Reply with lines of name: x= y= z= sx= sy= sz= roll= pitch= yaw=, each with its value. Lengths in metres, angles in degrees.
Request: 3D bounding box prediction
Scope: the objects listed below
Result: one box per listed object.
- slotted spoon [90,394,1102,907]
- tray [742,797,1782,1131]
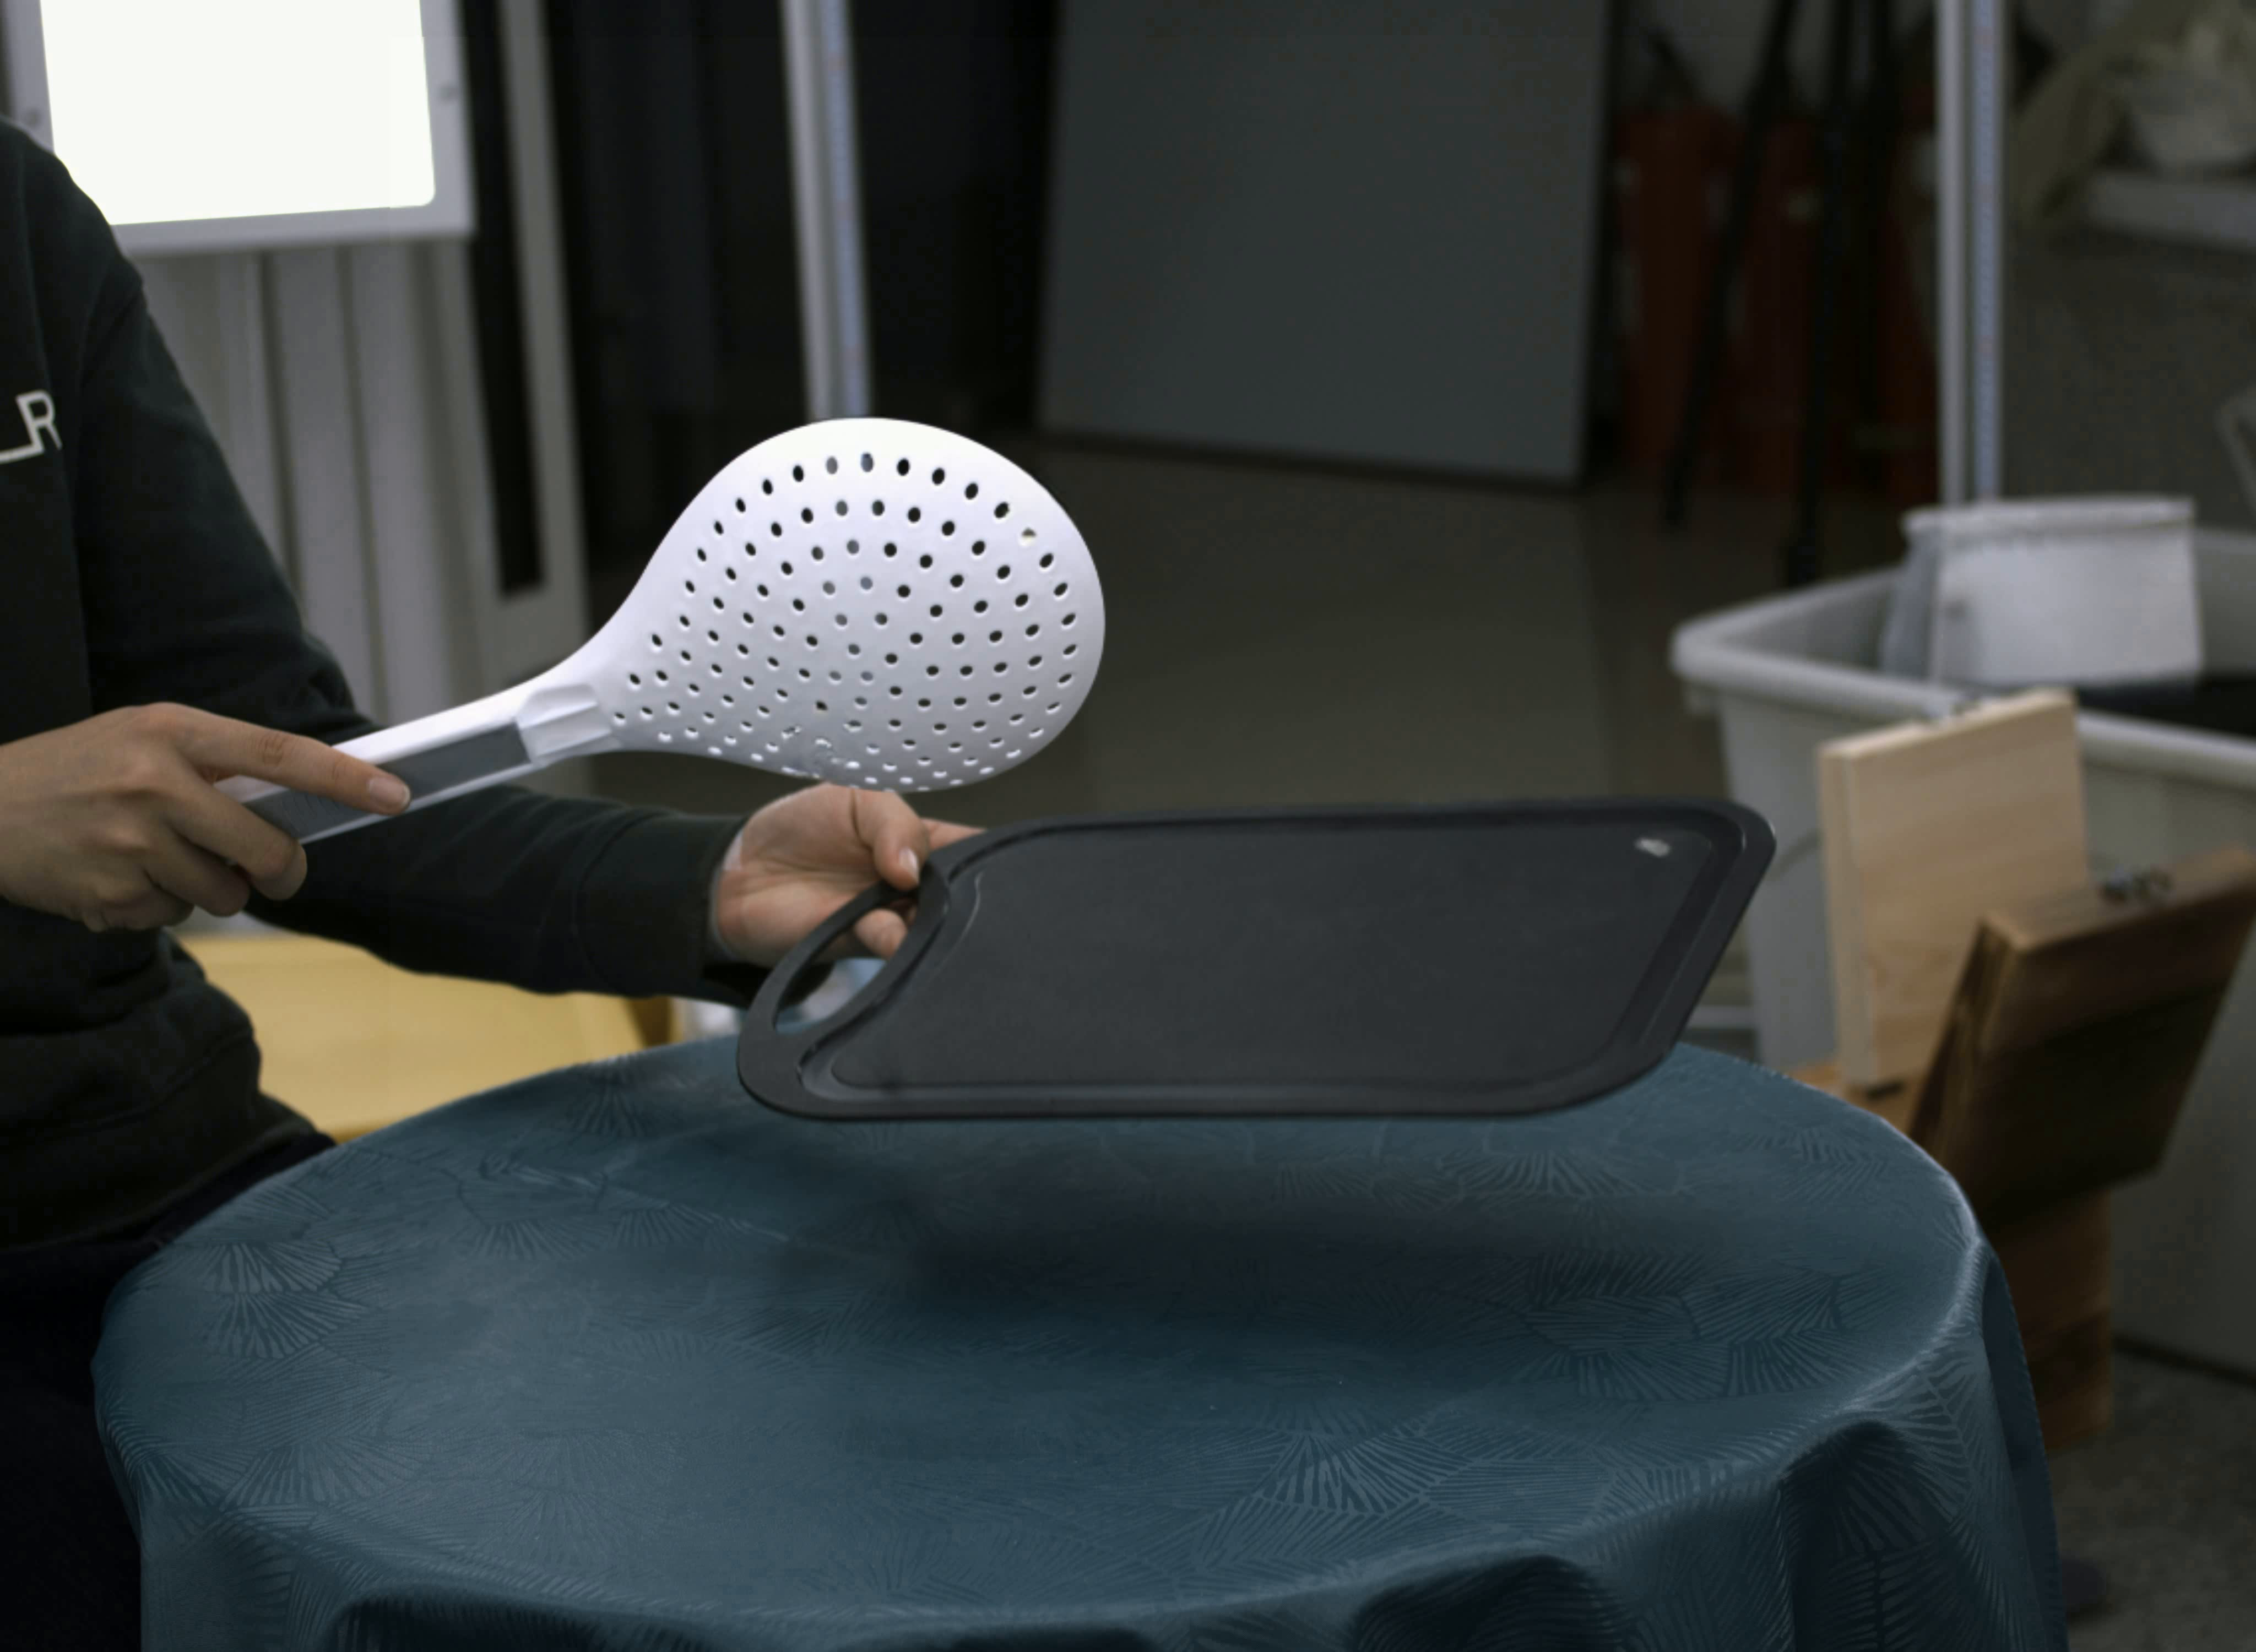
slotted spoon: x=-0.172 y=-0.036 z=1.682 sx=0.350 sy=0.136 sz=0.046 roll=-15 pitch=28 yaw=24
tray: x=0.035 y=0.041 z=1.698 sx=0.326 sy=0.010 sz=0.209 roll=-2 pitch=26 yaw=25
